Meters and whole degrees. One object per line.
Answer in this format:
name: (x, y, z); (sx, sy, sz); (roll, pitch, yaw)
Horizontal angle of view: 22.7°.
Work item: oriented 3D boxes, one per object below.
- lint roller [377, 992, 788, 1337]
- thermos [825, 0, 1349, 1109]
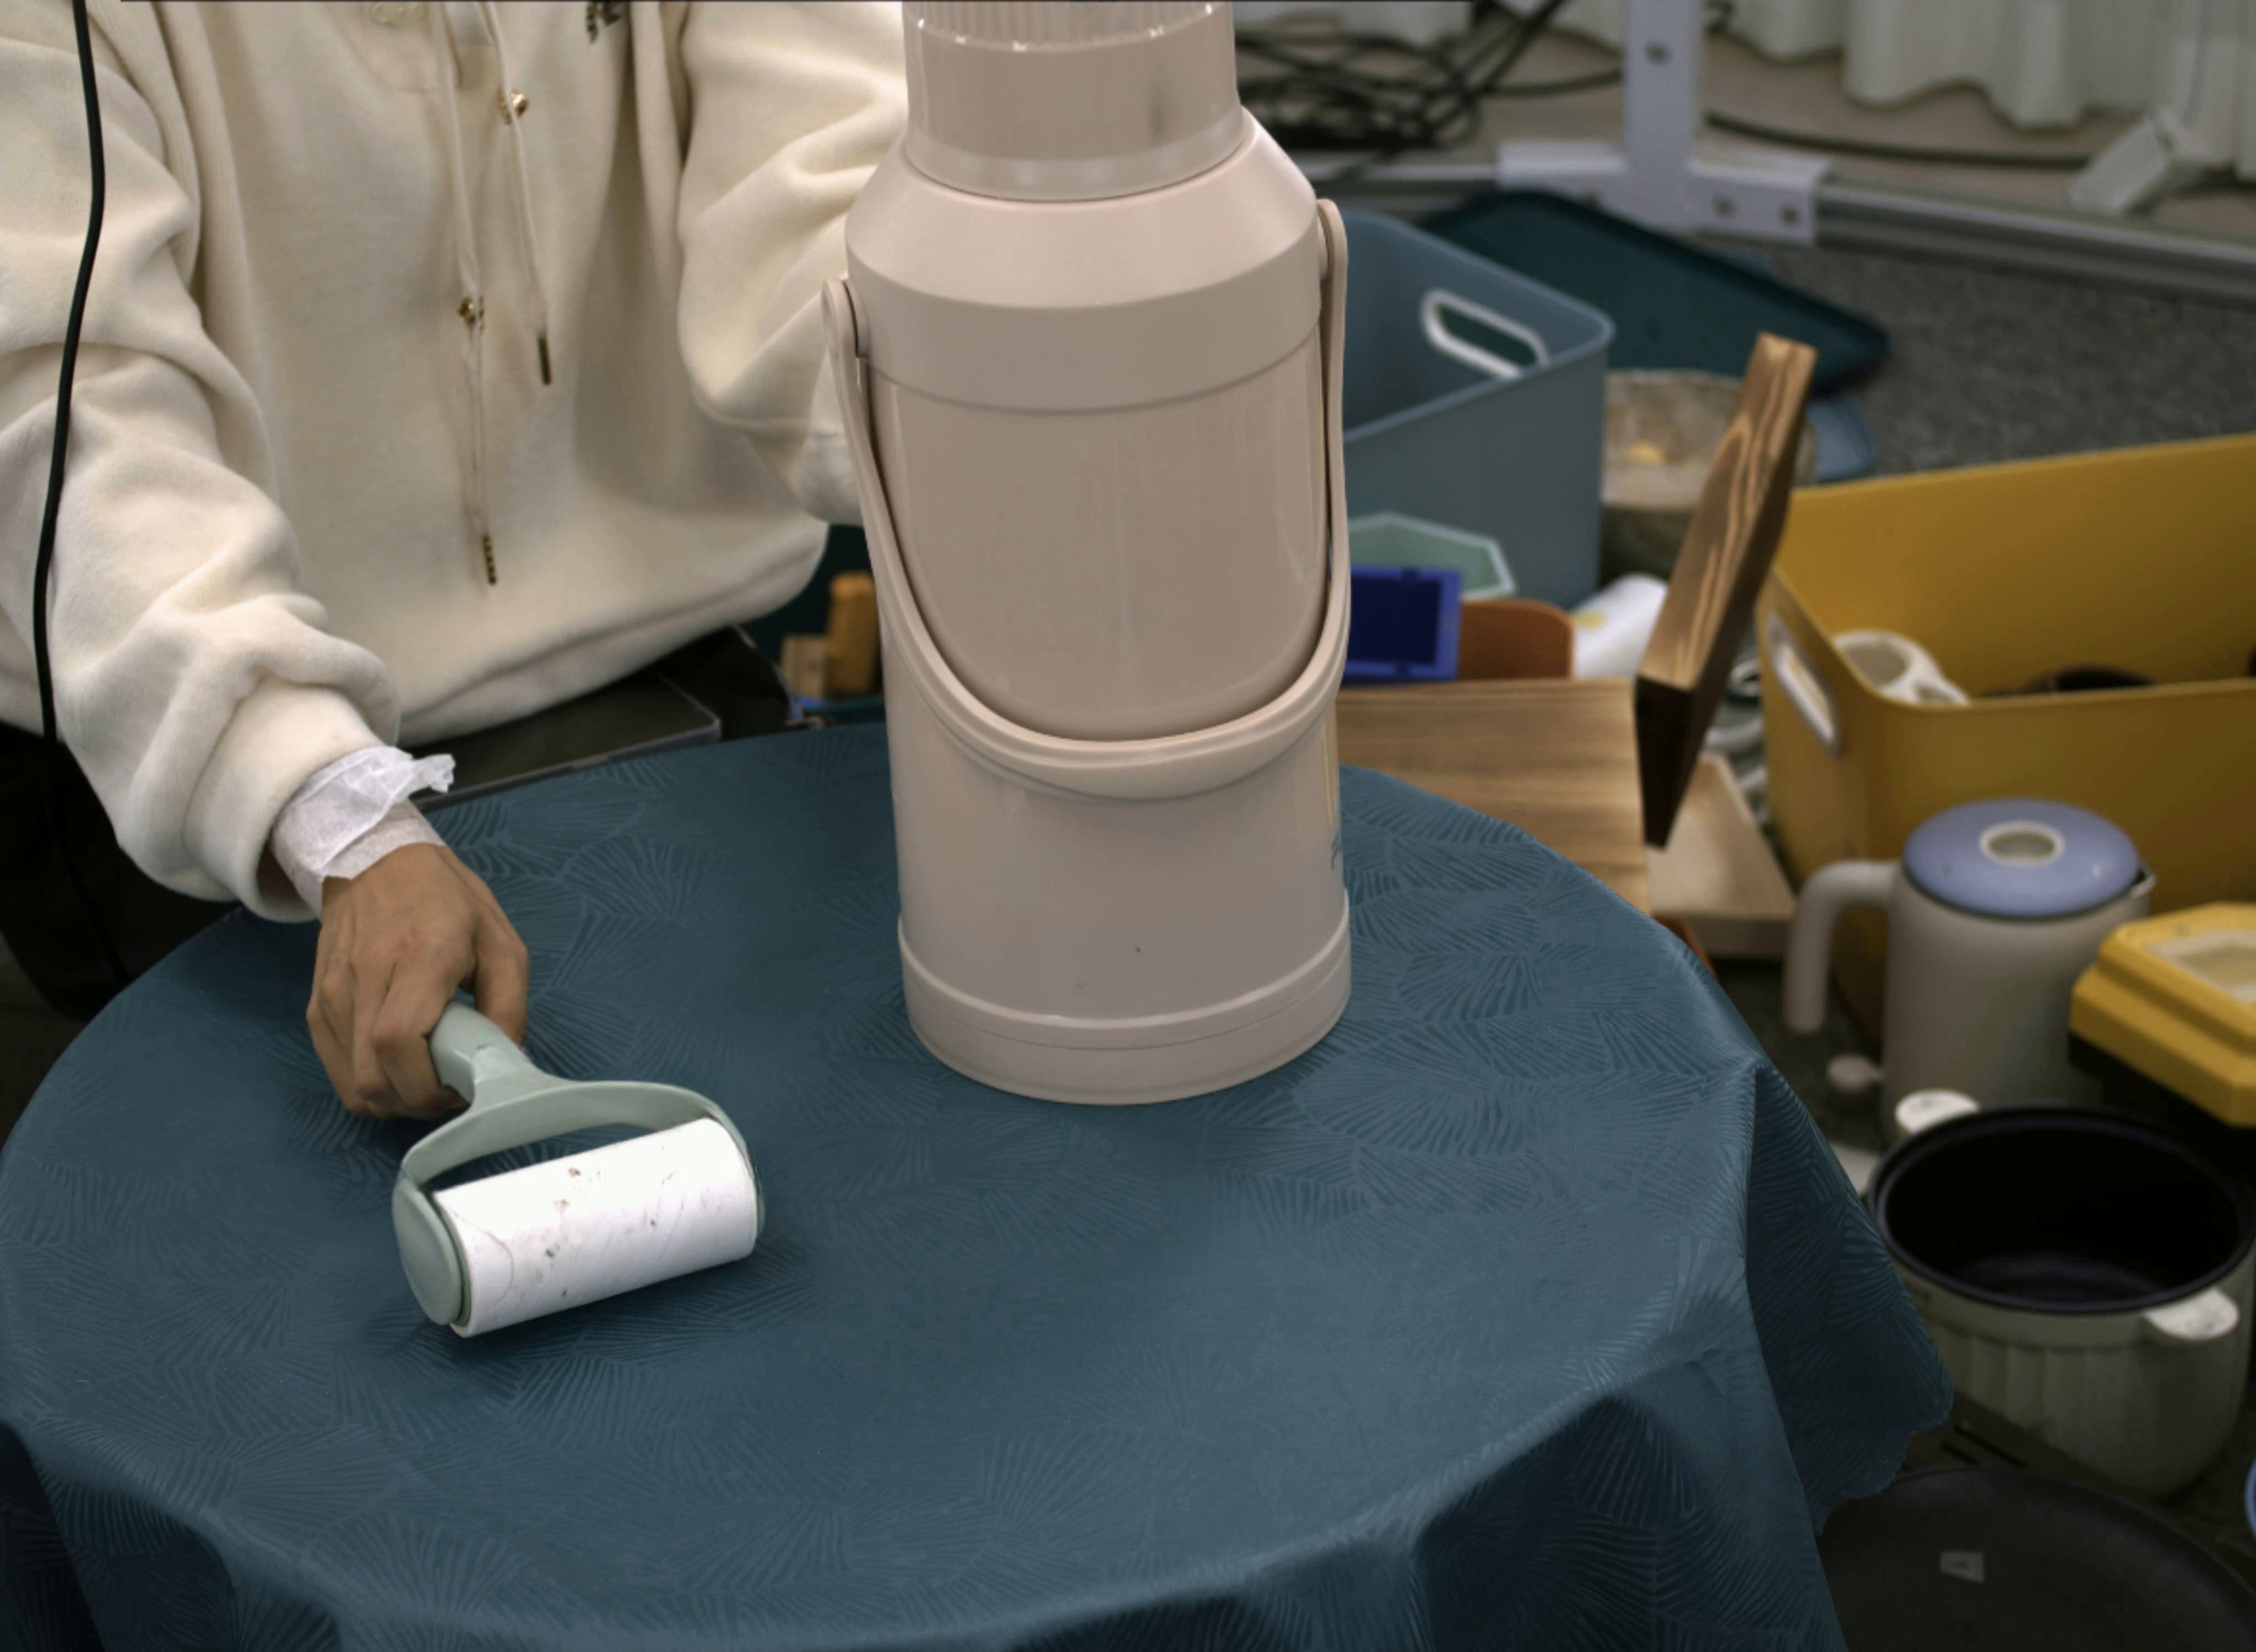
lint roller: (-0.202, 0.094, 1.867); (0.117, 0.048, 0.199); (-16, 35, -24)
thermos: (-0.013, -0.122, 1.908); (0.175, 0.402, 0.209); (-10, 27, -13)
